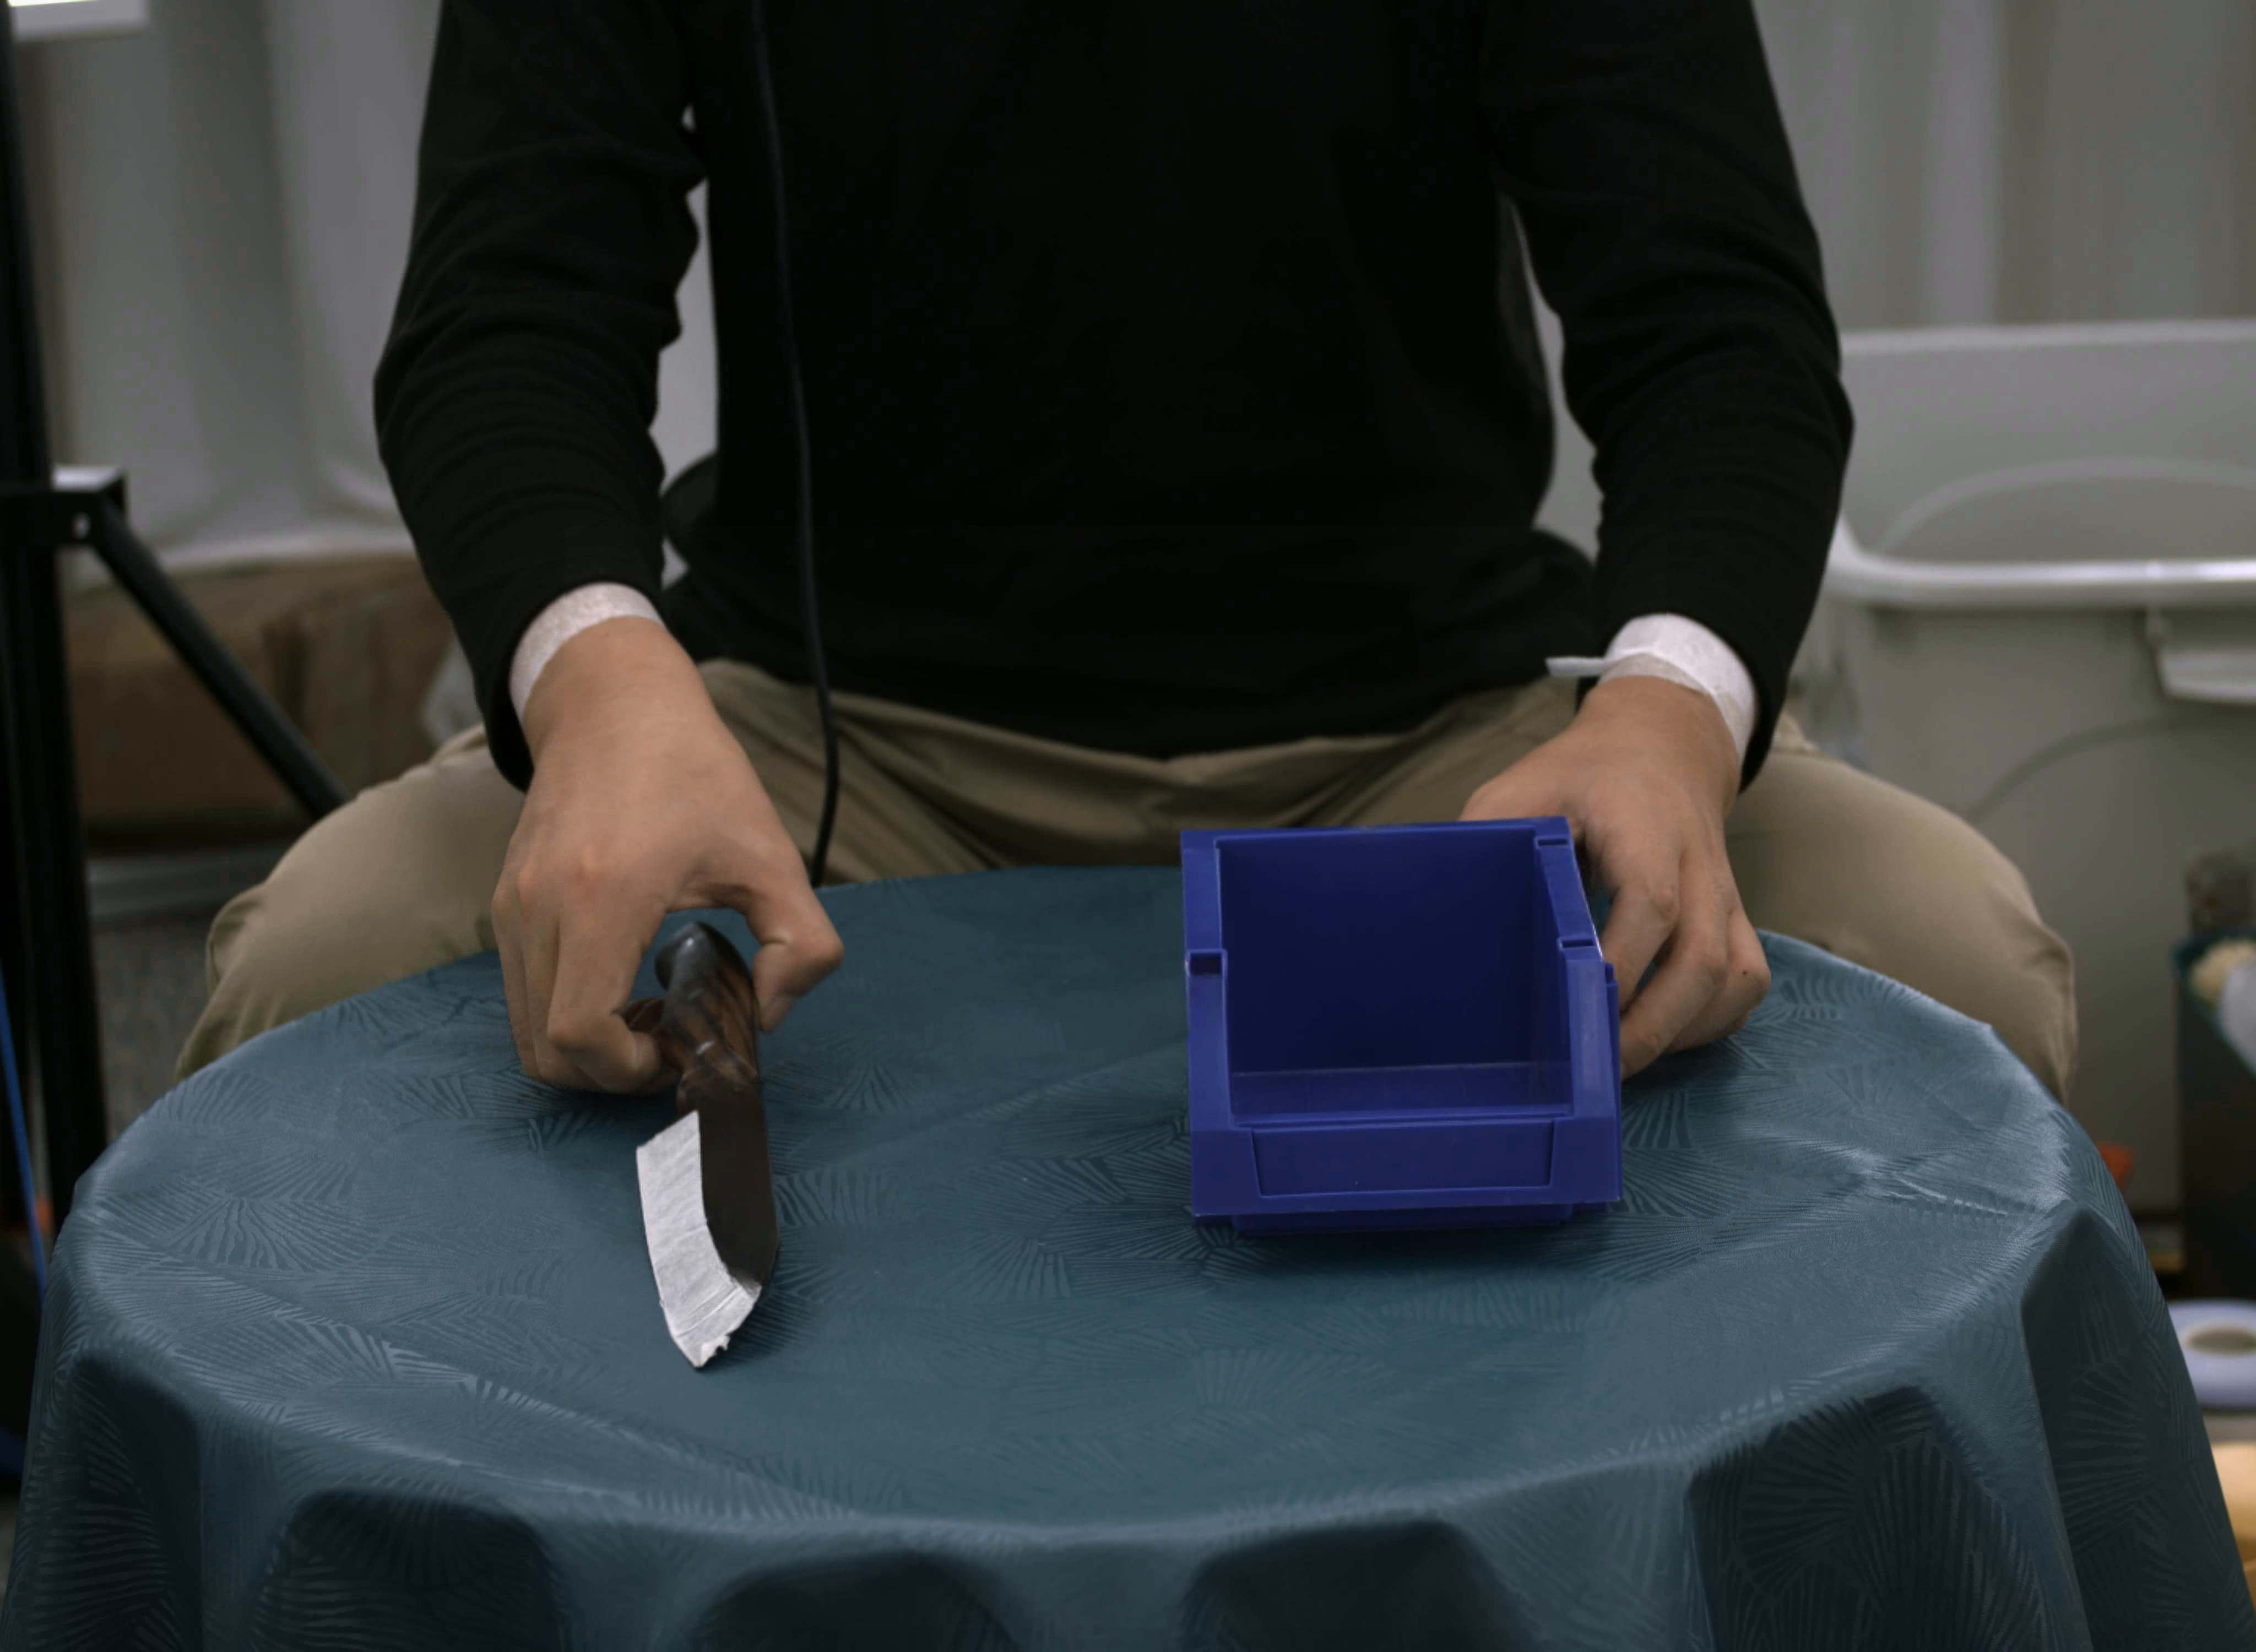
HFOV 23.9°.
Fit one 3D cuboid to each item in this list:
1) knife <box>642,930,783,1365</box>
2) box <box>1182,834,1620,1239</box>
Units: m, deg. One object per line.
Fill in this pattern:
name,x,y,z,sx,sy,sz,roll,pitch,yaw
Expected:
knife,-0.123,0.092,1.569,0.050,0.020,0.291,-35,19,8
box,0.080,0.064,1.551,0.124,0.082,0.179,-1,13,3
